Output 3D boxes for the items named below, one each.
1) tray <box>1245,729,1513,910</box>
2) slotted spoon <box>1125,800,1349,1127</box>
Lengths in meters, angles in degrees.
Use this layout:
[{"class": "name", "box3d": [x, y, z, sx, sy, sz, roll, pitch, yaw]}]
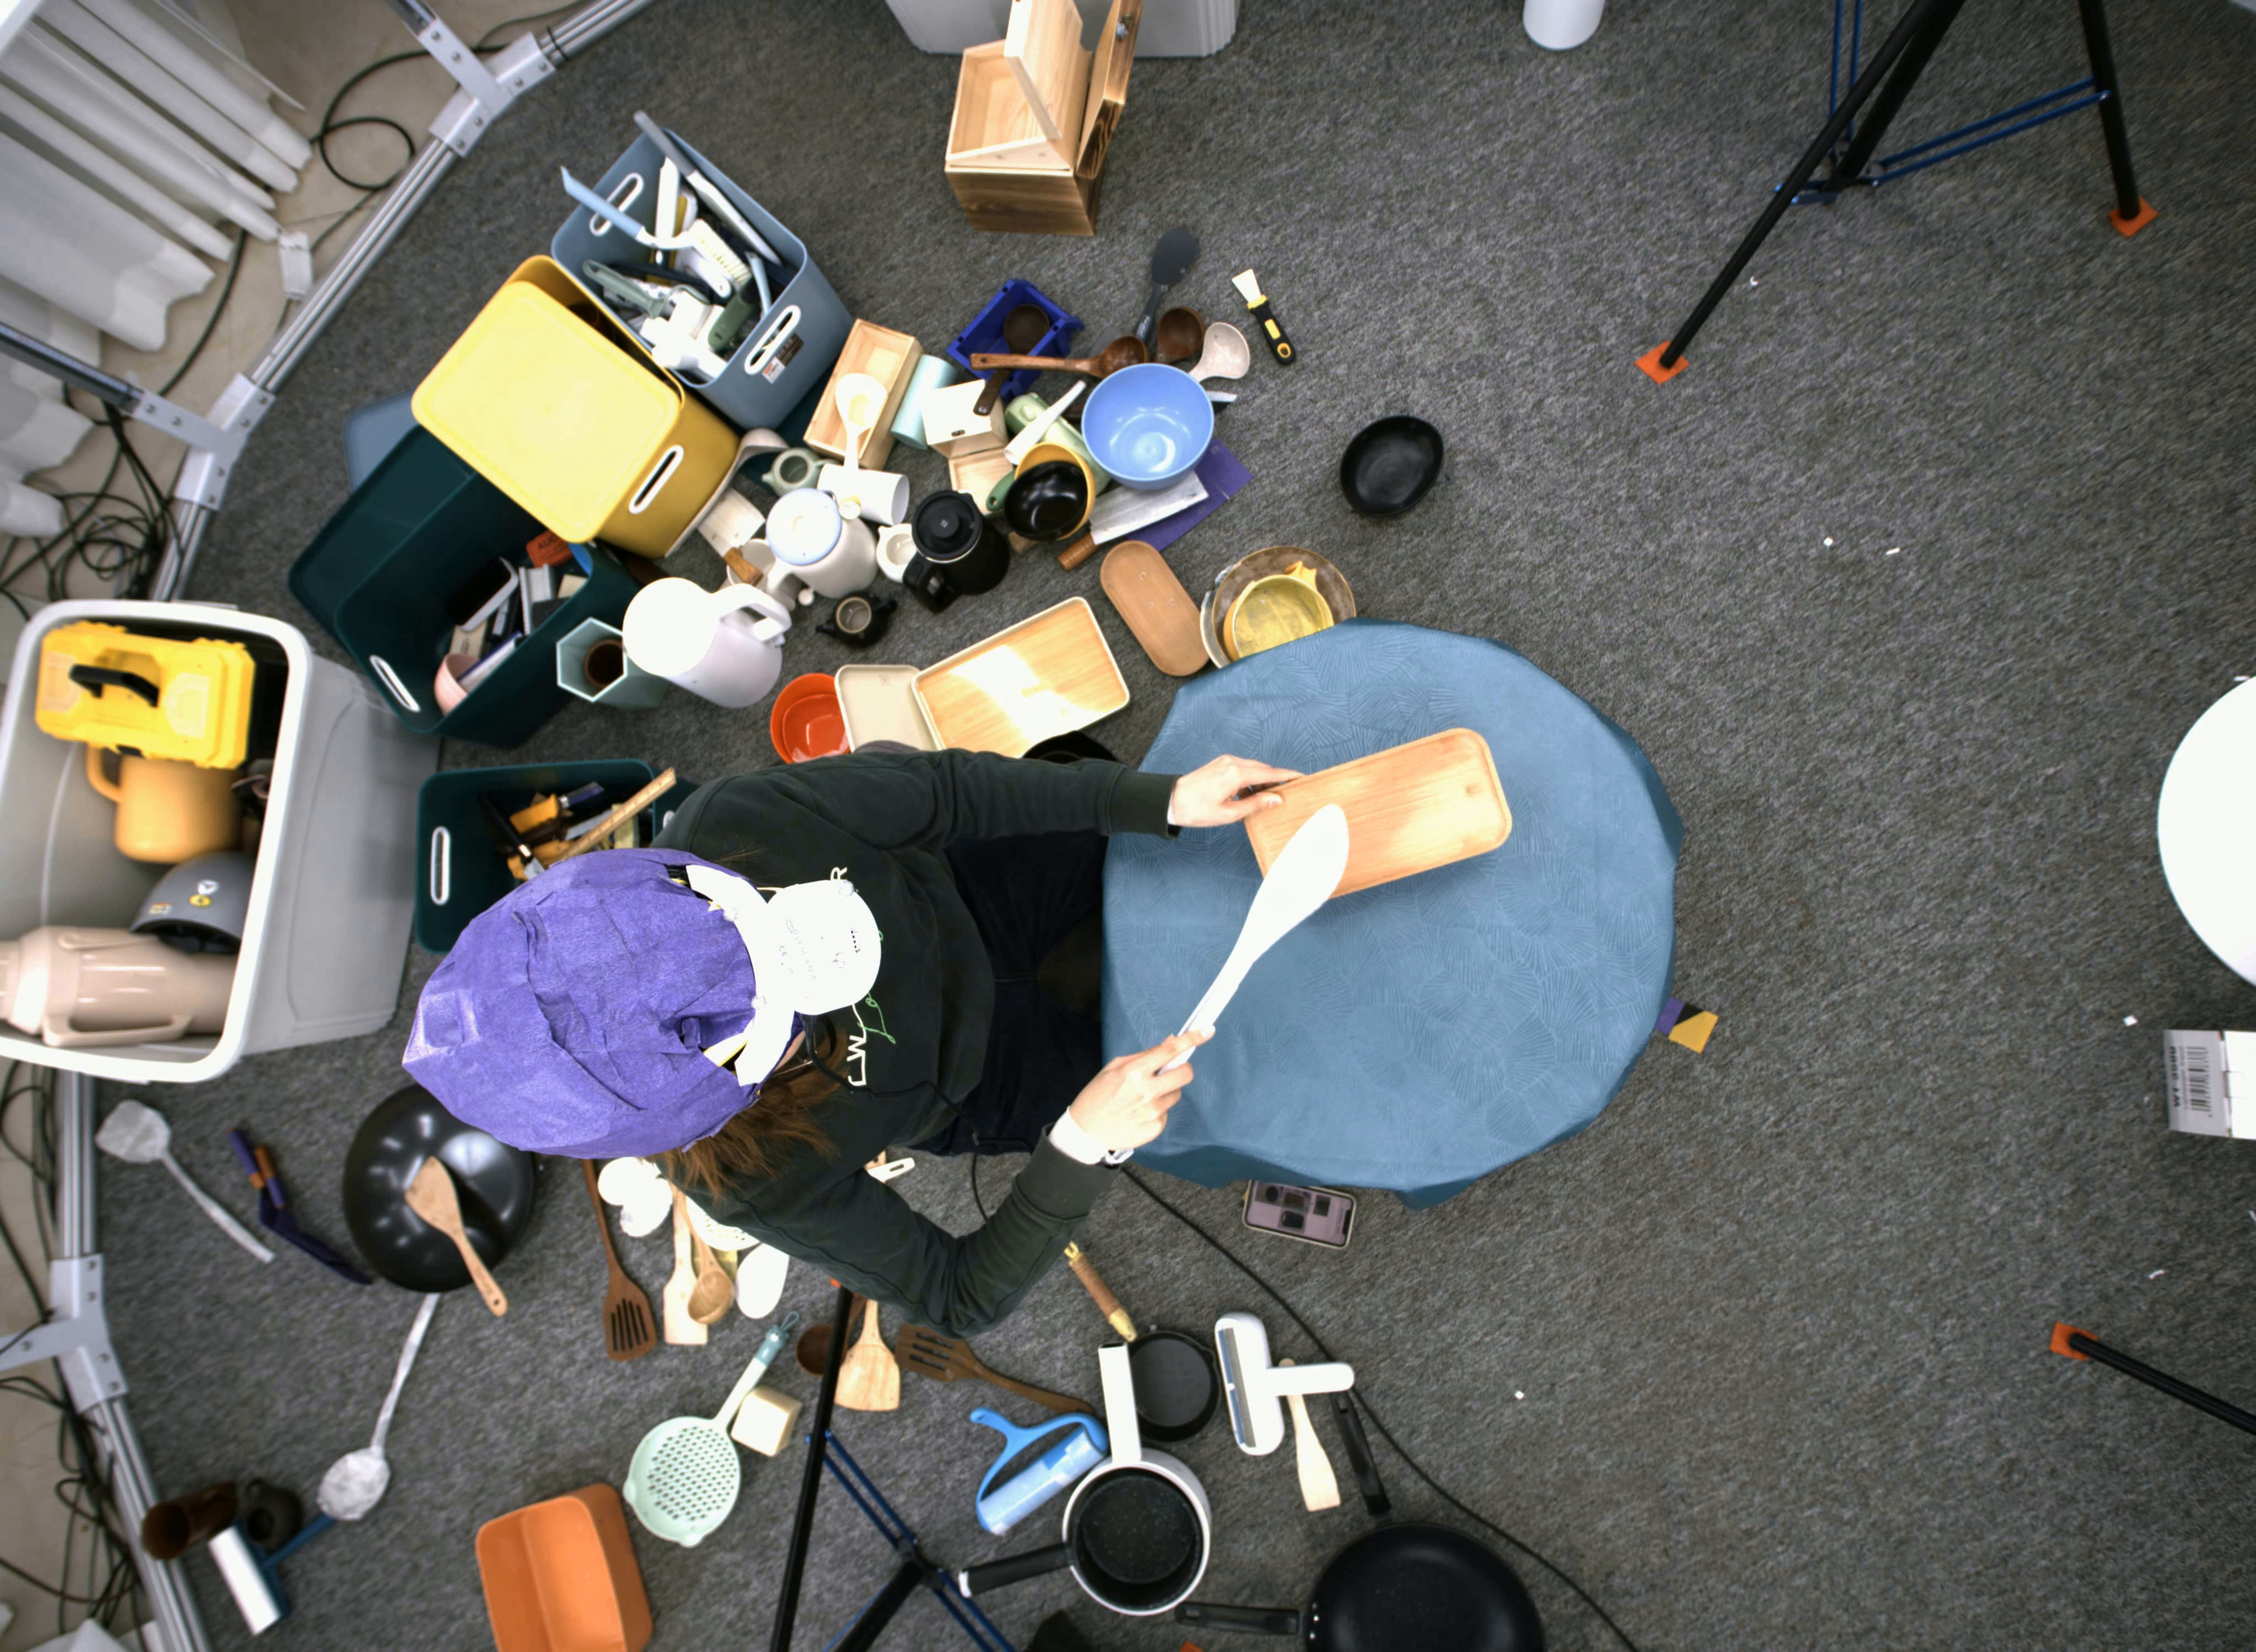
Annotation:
[{"class": "tray", "box3d": [0.247, -0.006, 1.368, 0.253, 0.022, 0.131, -18, 100, 17]}, {"class": "slotted spoon", "box3d": [0.101, 0.125, 1.268, 0.046, 0.136, 0.348, 39, 87, -5]}]
